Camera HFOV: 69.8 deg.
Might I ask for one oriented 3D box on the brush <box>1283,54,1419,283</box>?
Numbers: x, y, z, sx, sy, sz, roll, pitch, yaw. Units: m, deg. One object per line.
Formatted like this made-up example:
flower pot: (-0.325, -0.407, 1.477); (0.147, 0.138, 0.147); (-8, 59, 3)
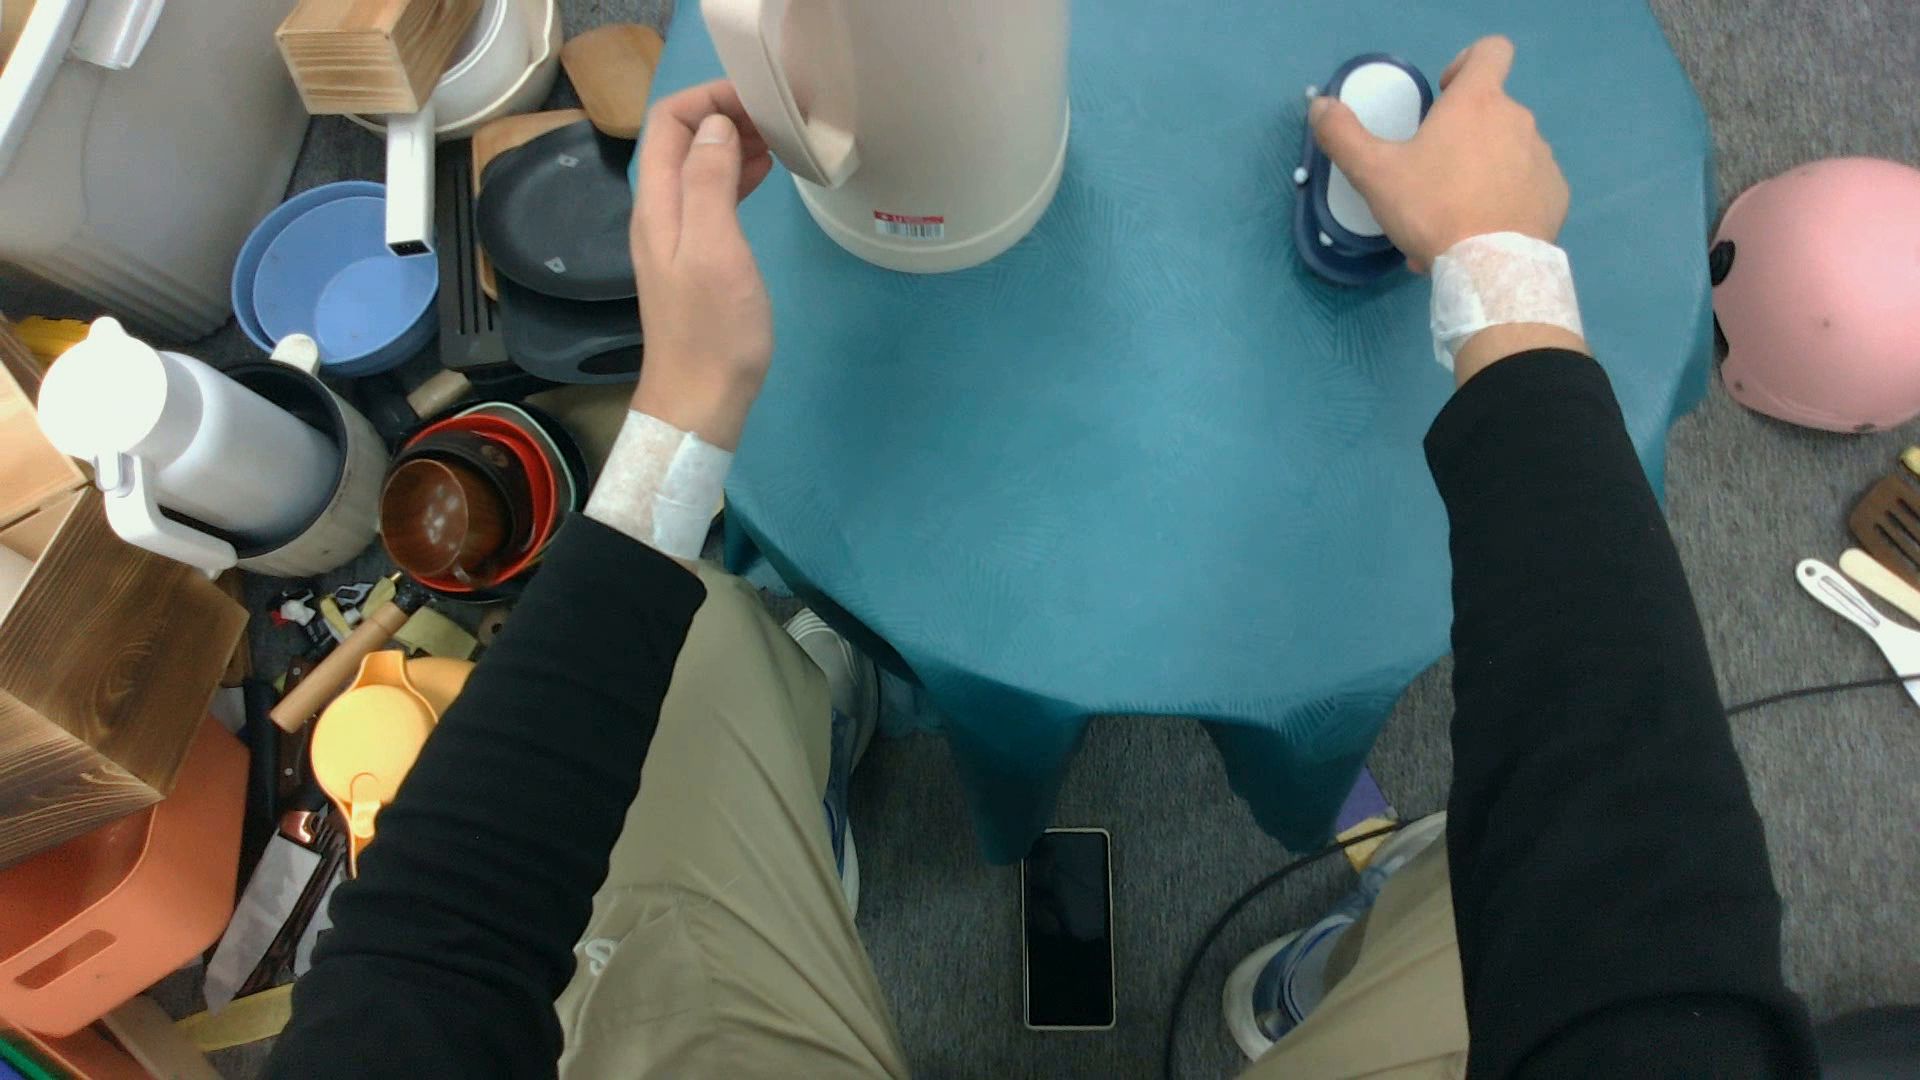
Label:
brush: (0.212, -0.199, 0.747); (0.068, 0.061, 0.122); (11, 77, 6)

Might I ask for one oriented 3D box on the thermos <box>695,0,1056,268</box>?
thermos: (-0.040, -0.258, 0.591); (0.175, 0.405, 0.207); (25, 79, 5)
